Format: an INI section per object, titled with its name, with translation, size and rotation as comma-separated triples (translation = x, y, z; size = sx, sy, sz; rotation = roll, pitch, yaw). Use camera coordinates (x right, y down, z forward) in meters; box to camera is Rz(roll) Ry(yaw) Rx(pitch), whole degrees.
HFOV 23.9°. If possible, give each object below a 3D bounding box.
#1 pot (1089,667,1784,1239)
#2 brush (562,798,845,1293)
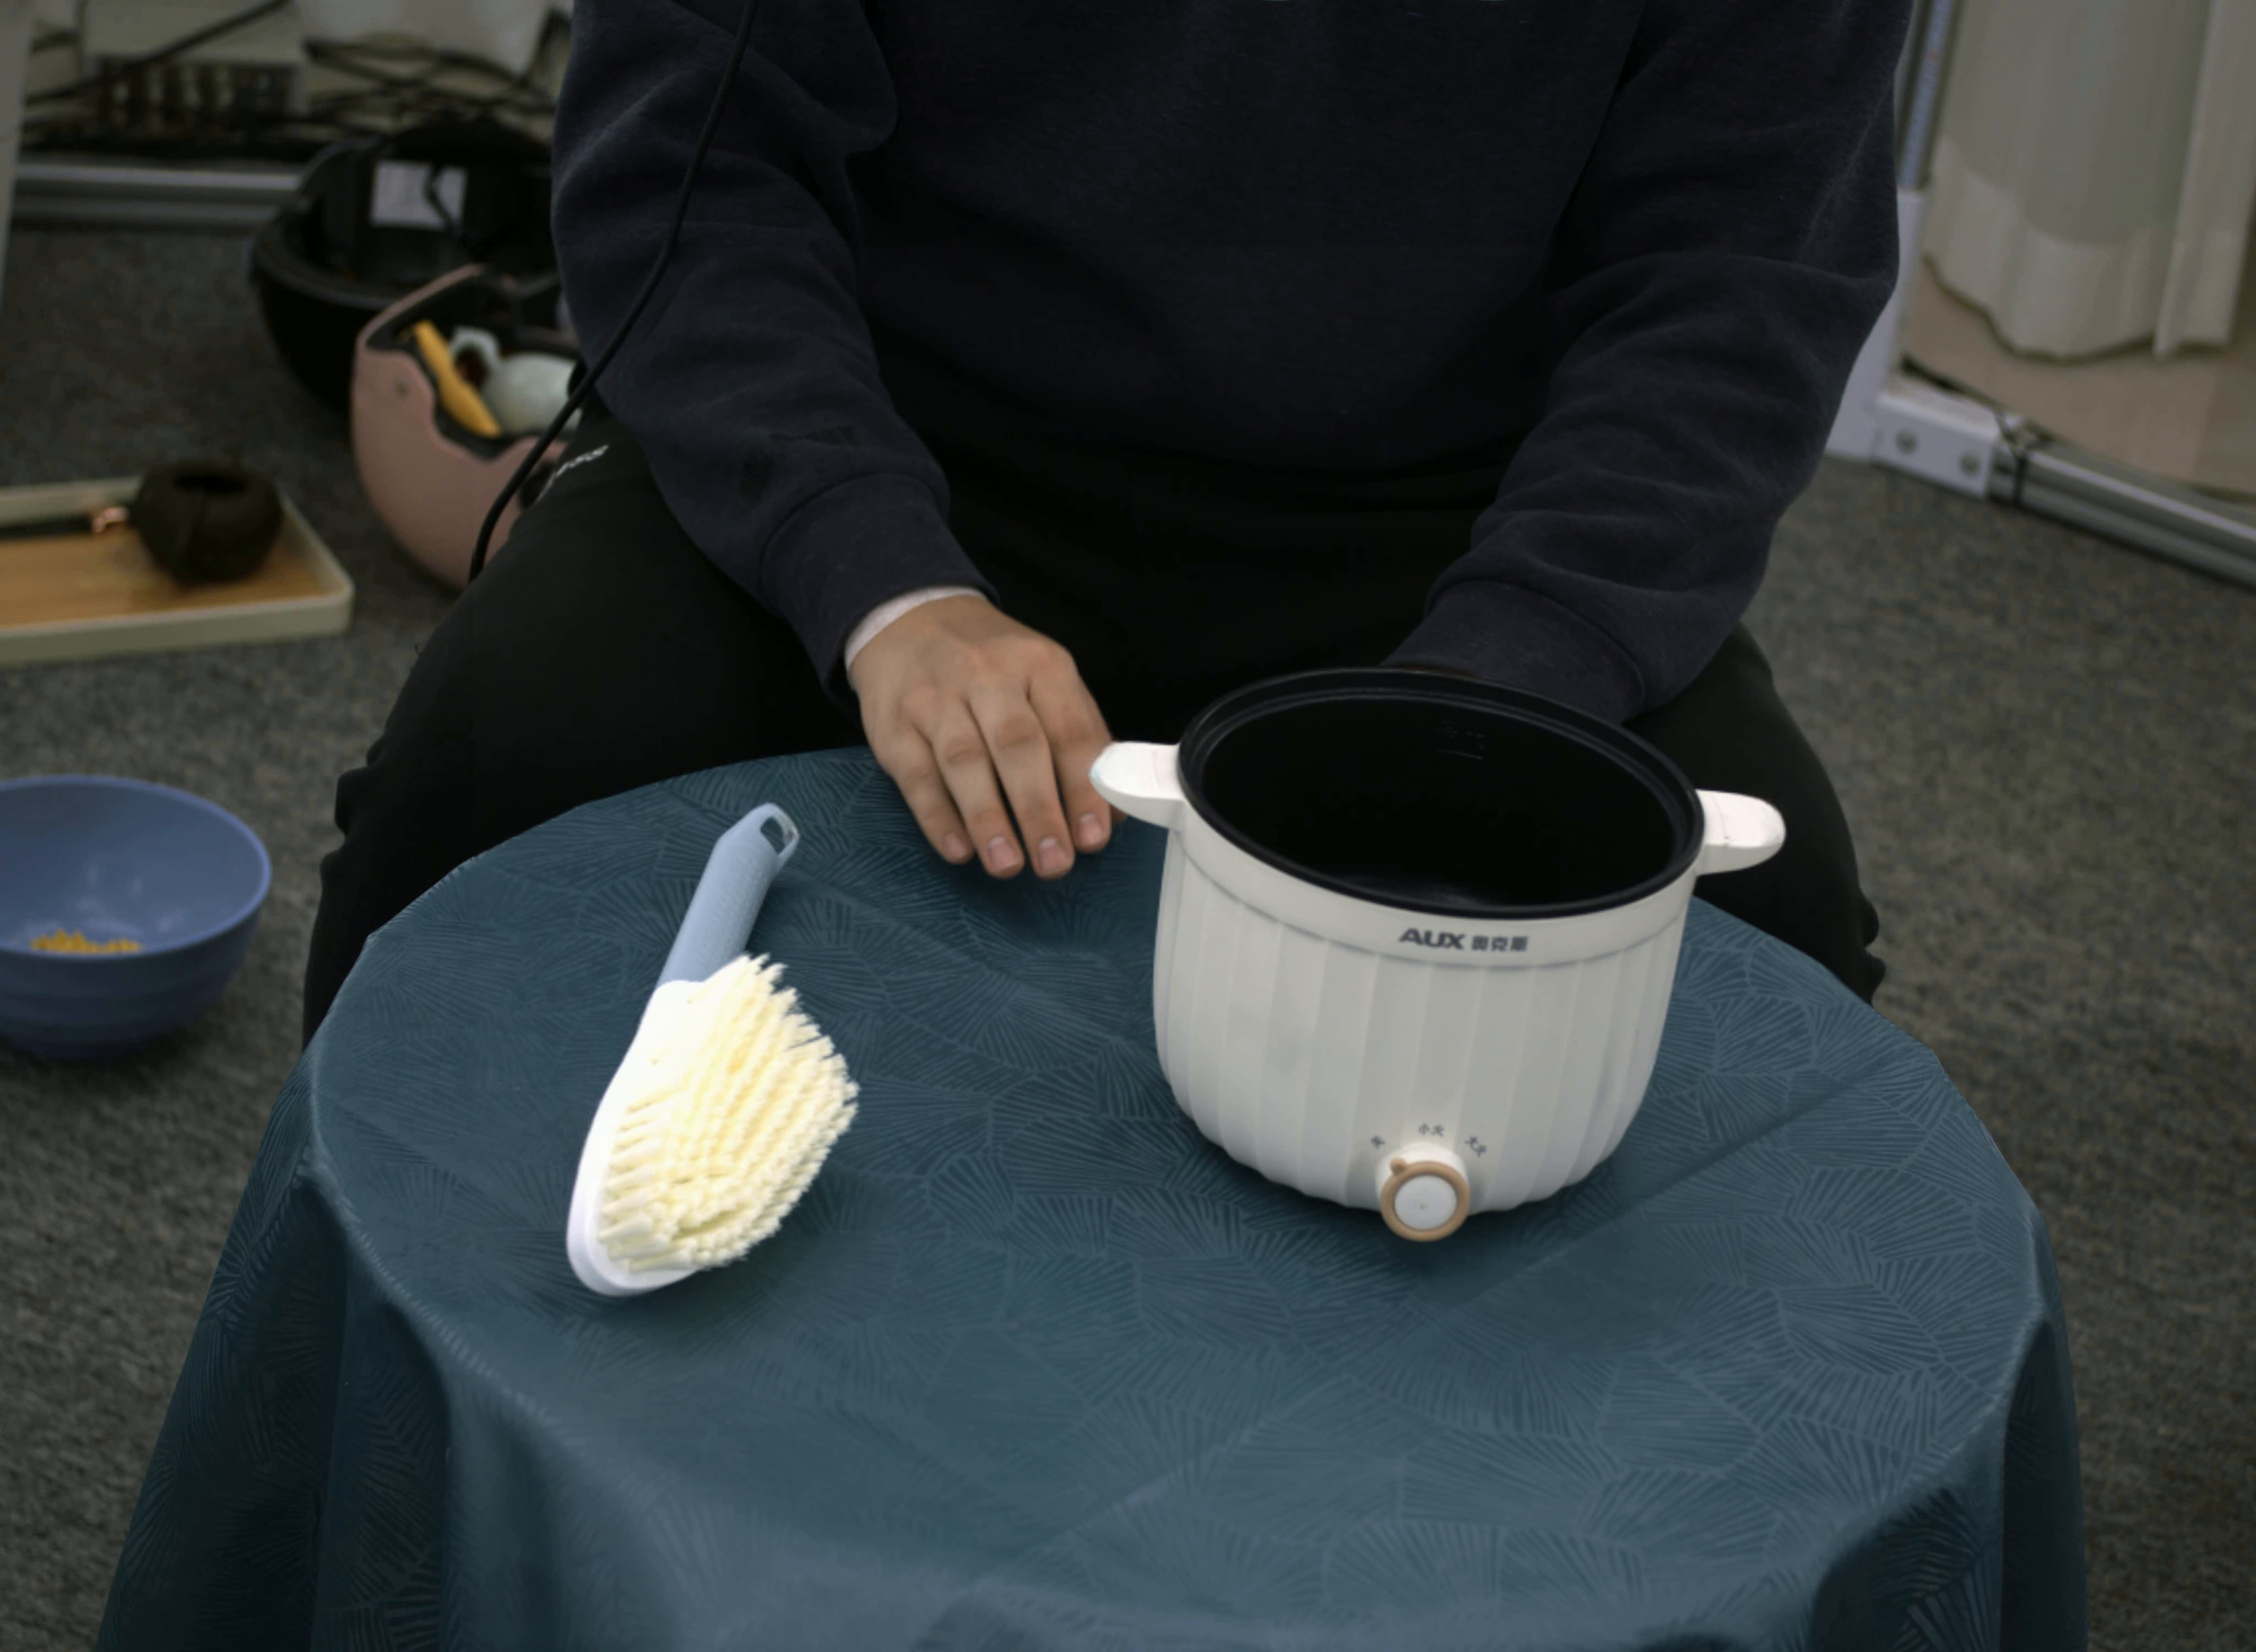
[pot]
translation = 0.100, 0.046, 1.829
size = 0.239, 0.142, 0.191
rotation = 4, 24, -5
[brush]
translation = -0.129, 0.053, 1.825
size = 0.084, 0.083, 0.327
rotation = 6, 27, 5
